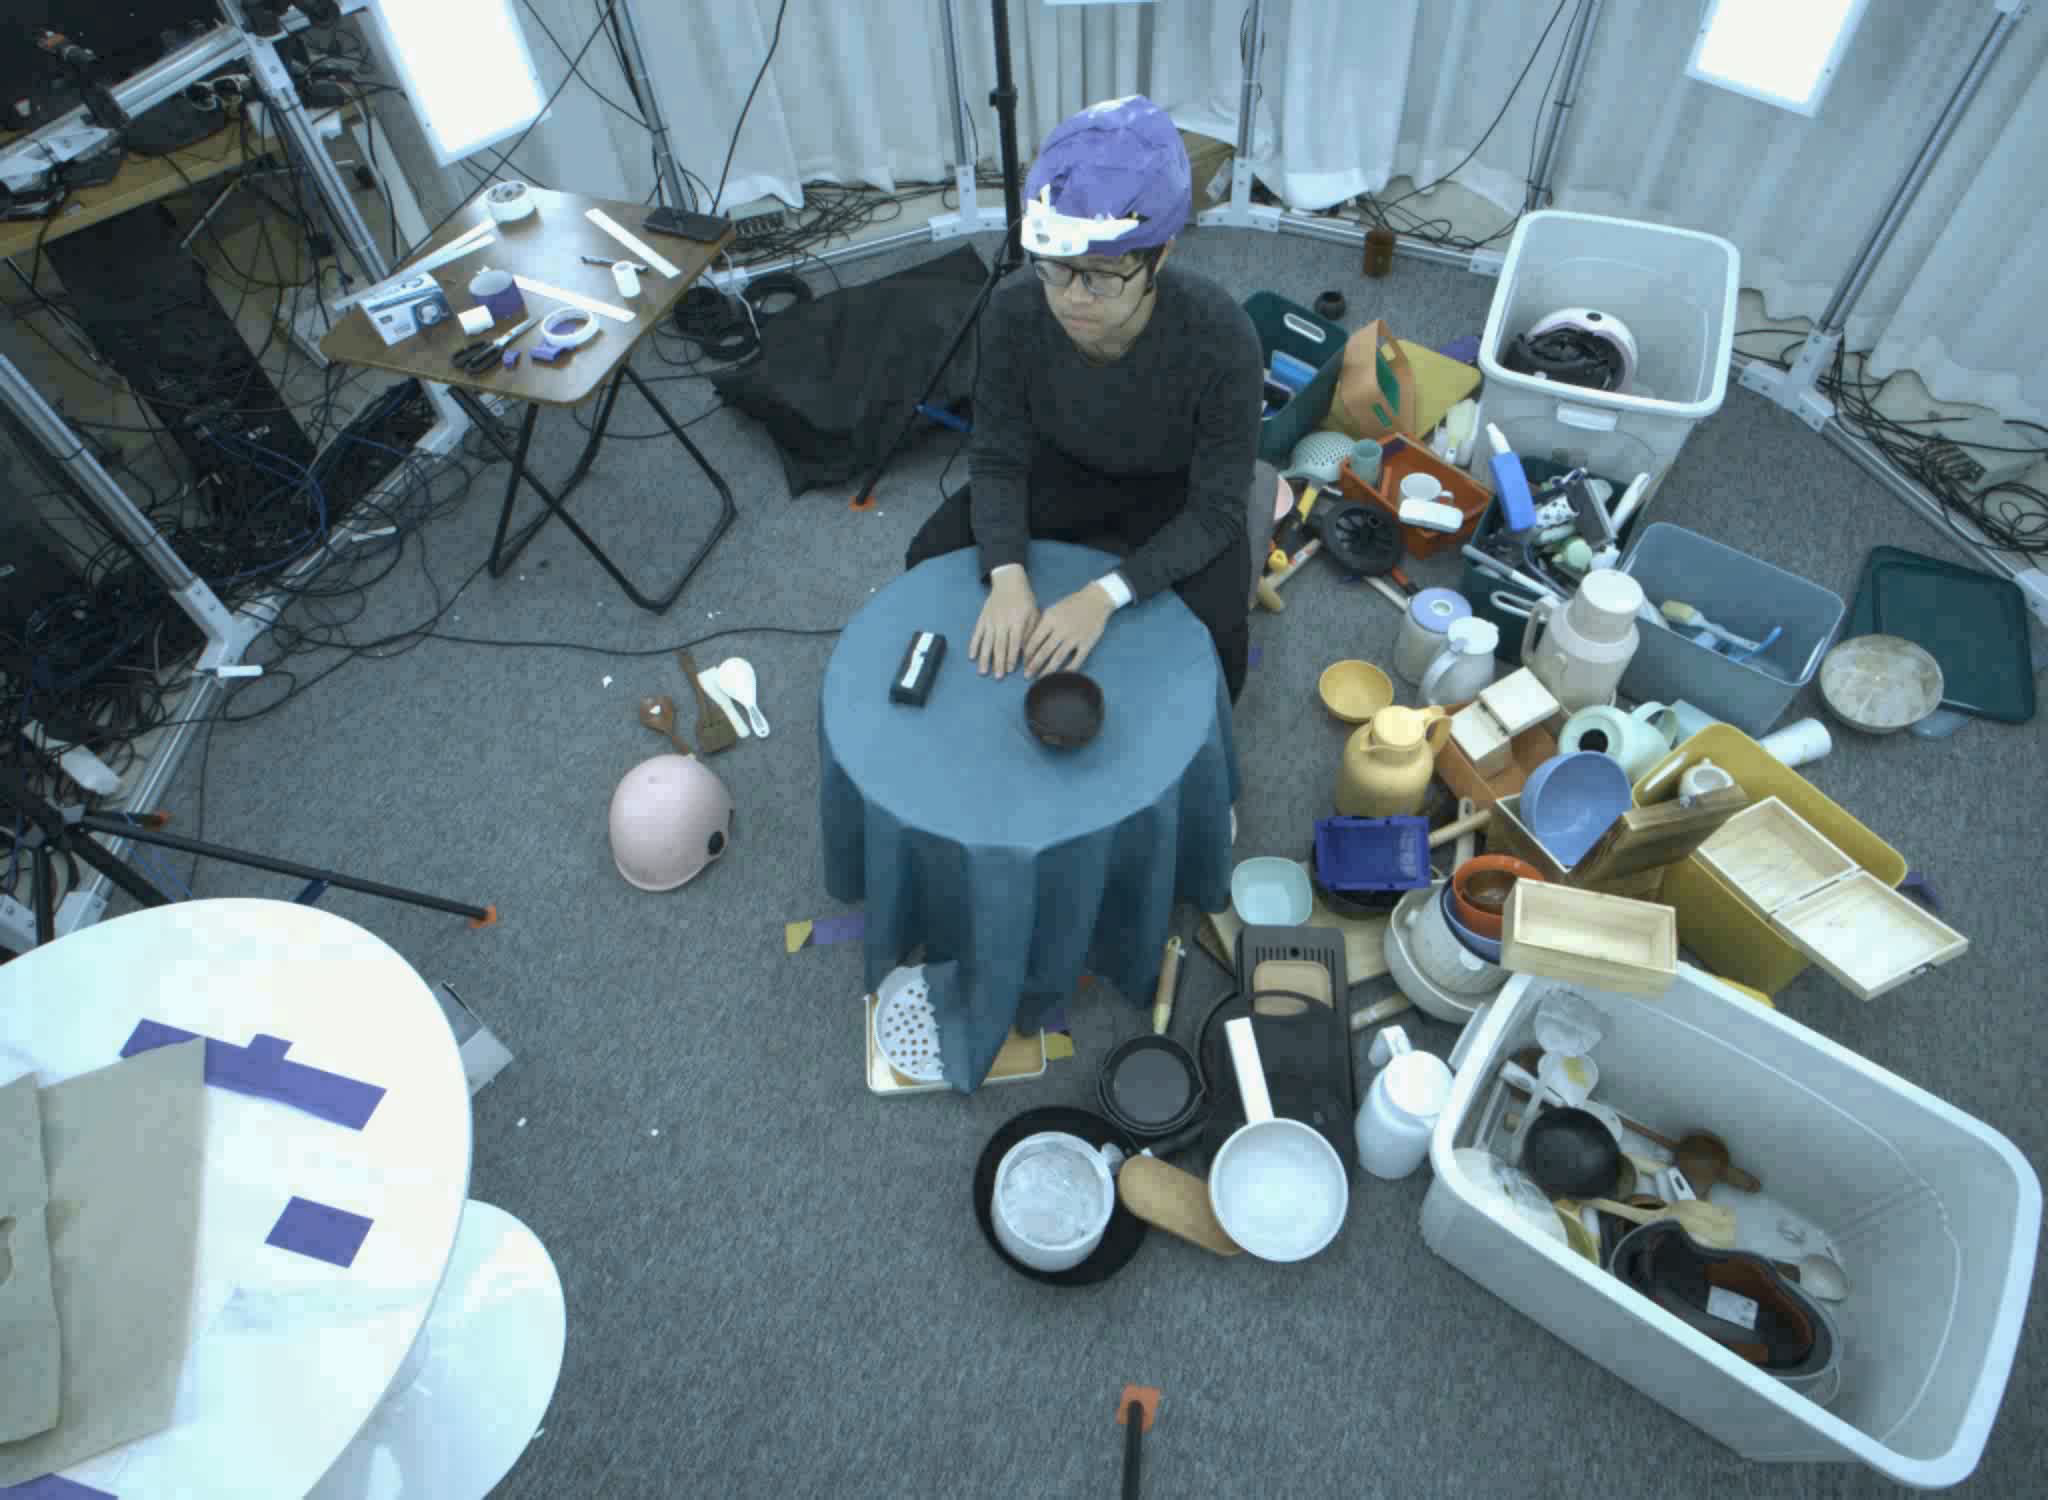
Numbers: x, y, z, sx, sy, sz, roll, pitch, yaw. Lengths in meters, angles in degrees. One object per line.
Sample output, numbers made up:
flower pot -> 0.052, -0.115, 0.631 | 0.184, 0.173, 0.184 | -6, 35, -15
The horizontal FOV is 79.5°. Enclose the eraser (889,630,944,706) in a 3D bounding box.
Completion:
eraser -> -0.162, -0.125, 1.864 | 0.053, 0.031, 0.125 | 11, 56, 7

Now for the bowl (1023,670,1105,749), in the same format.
bowl -> 0.059, -0.051, 1.778 | 0.118, 0.070, 0.117 | -1, 54, 2
